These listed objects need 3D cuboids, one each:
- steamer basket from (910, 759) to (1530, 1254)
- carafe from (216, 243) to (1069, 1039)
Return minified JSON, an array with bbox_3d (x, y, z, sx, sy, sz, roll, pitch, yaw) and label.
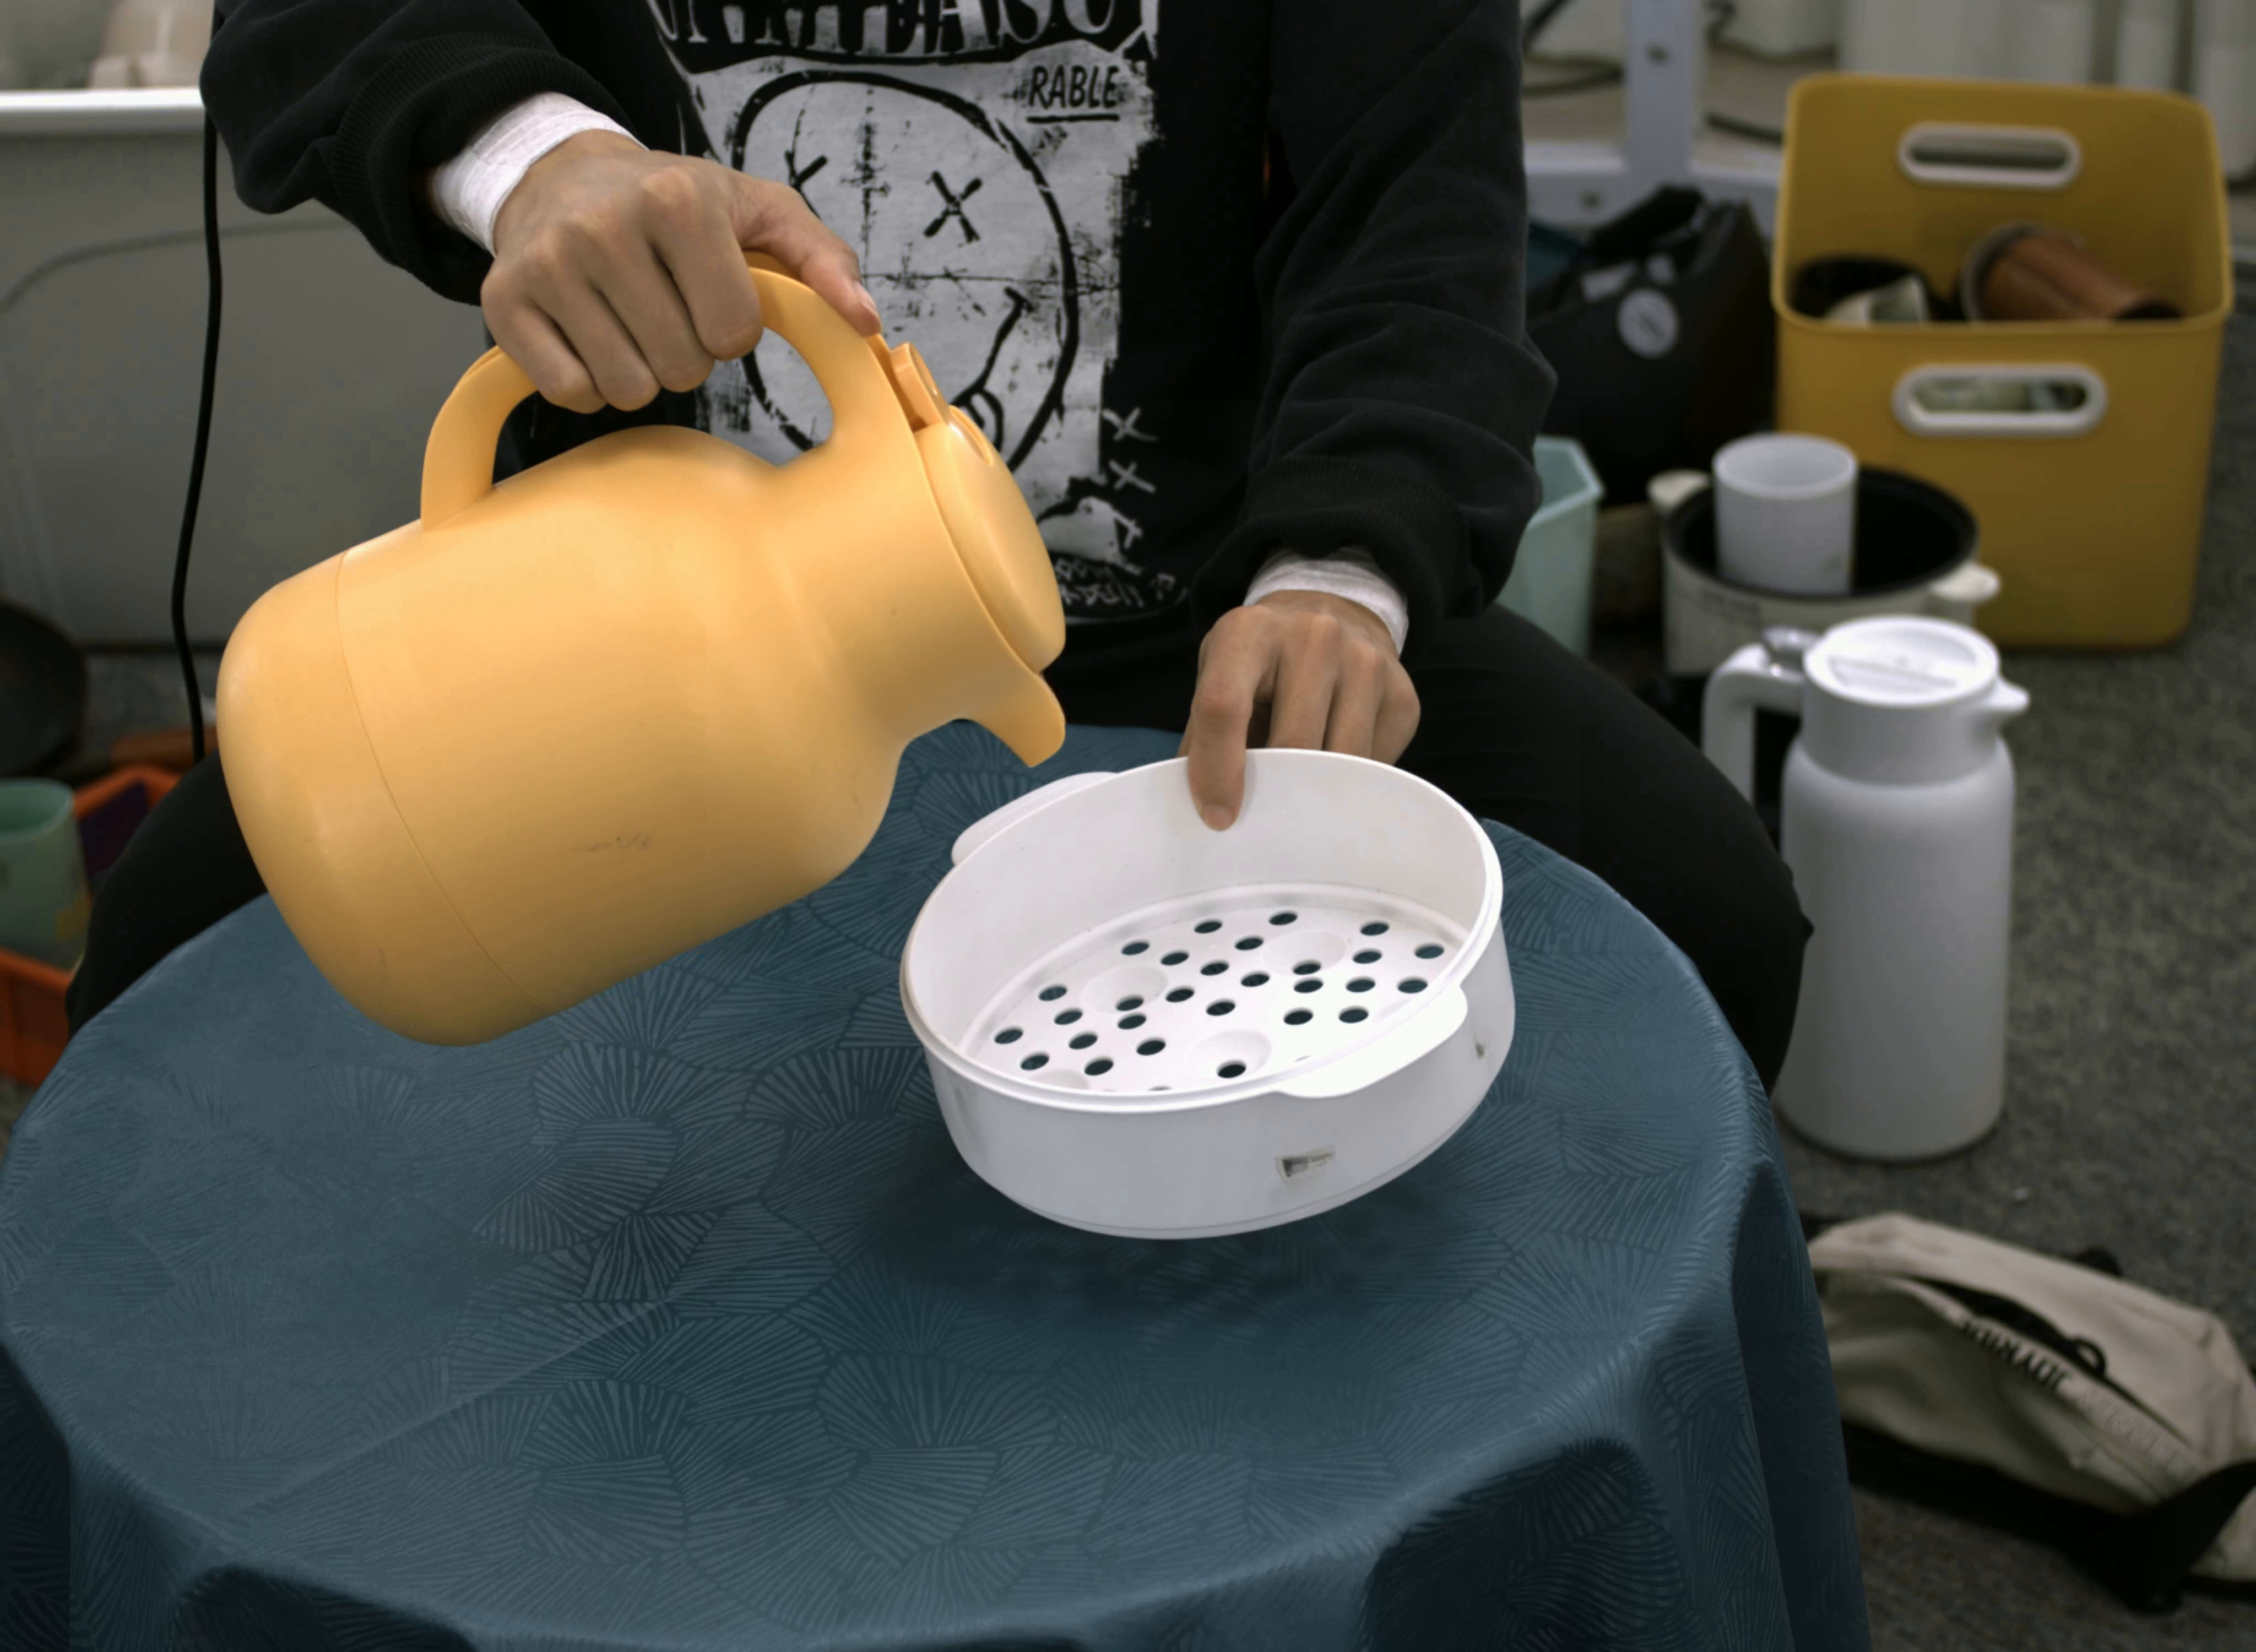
[{"bbox_3d":[0.032,0.060,1.837,0.203,0.068,0.231,-28,35,-24],"label":"steamer basket"},{"bbox_3d":[-0.157,-0.064,1.785,0.259,0.202,0.165,-23,11,6],"label":"carafe"}]
